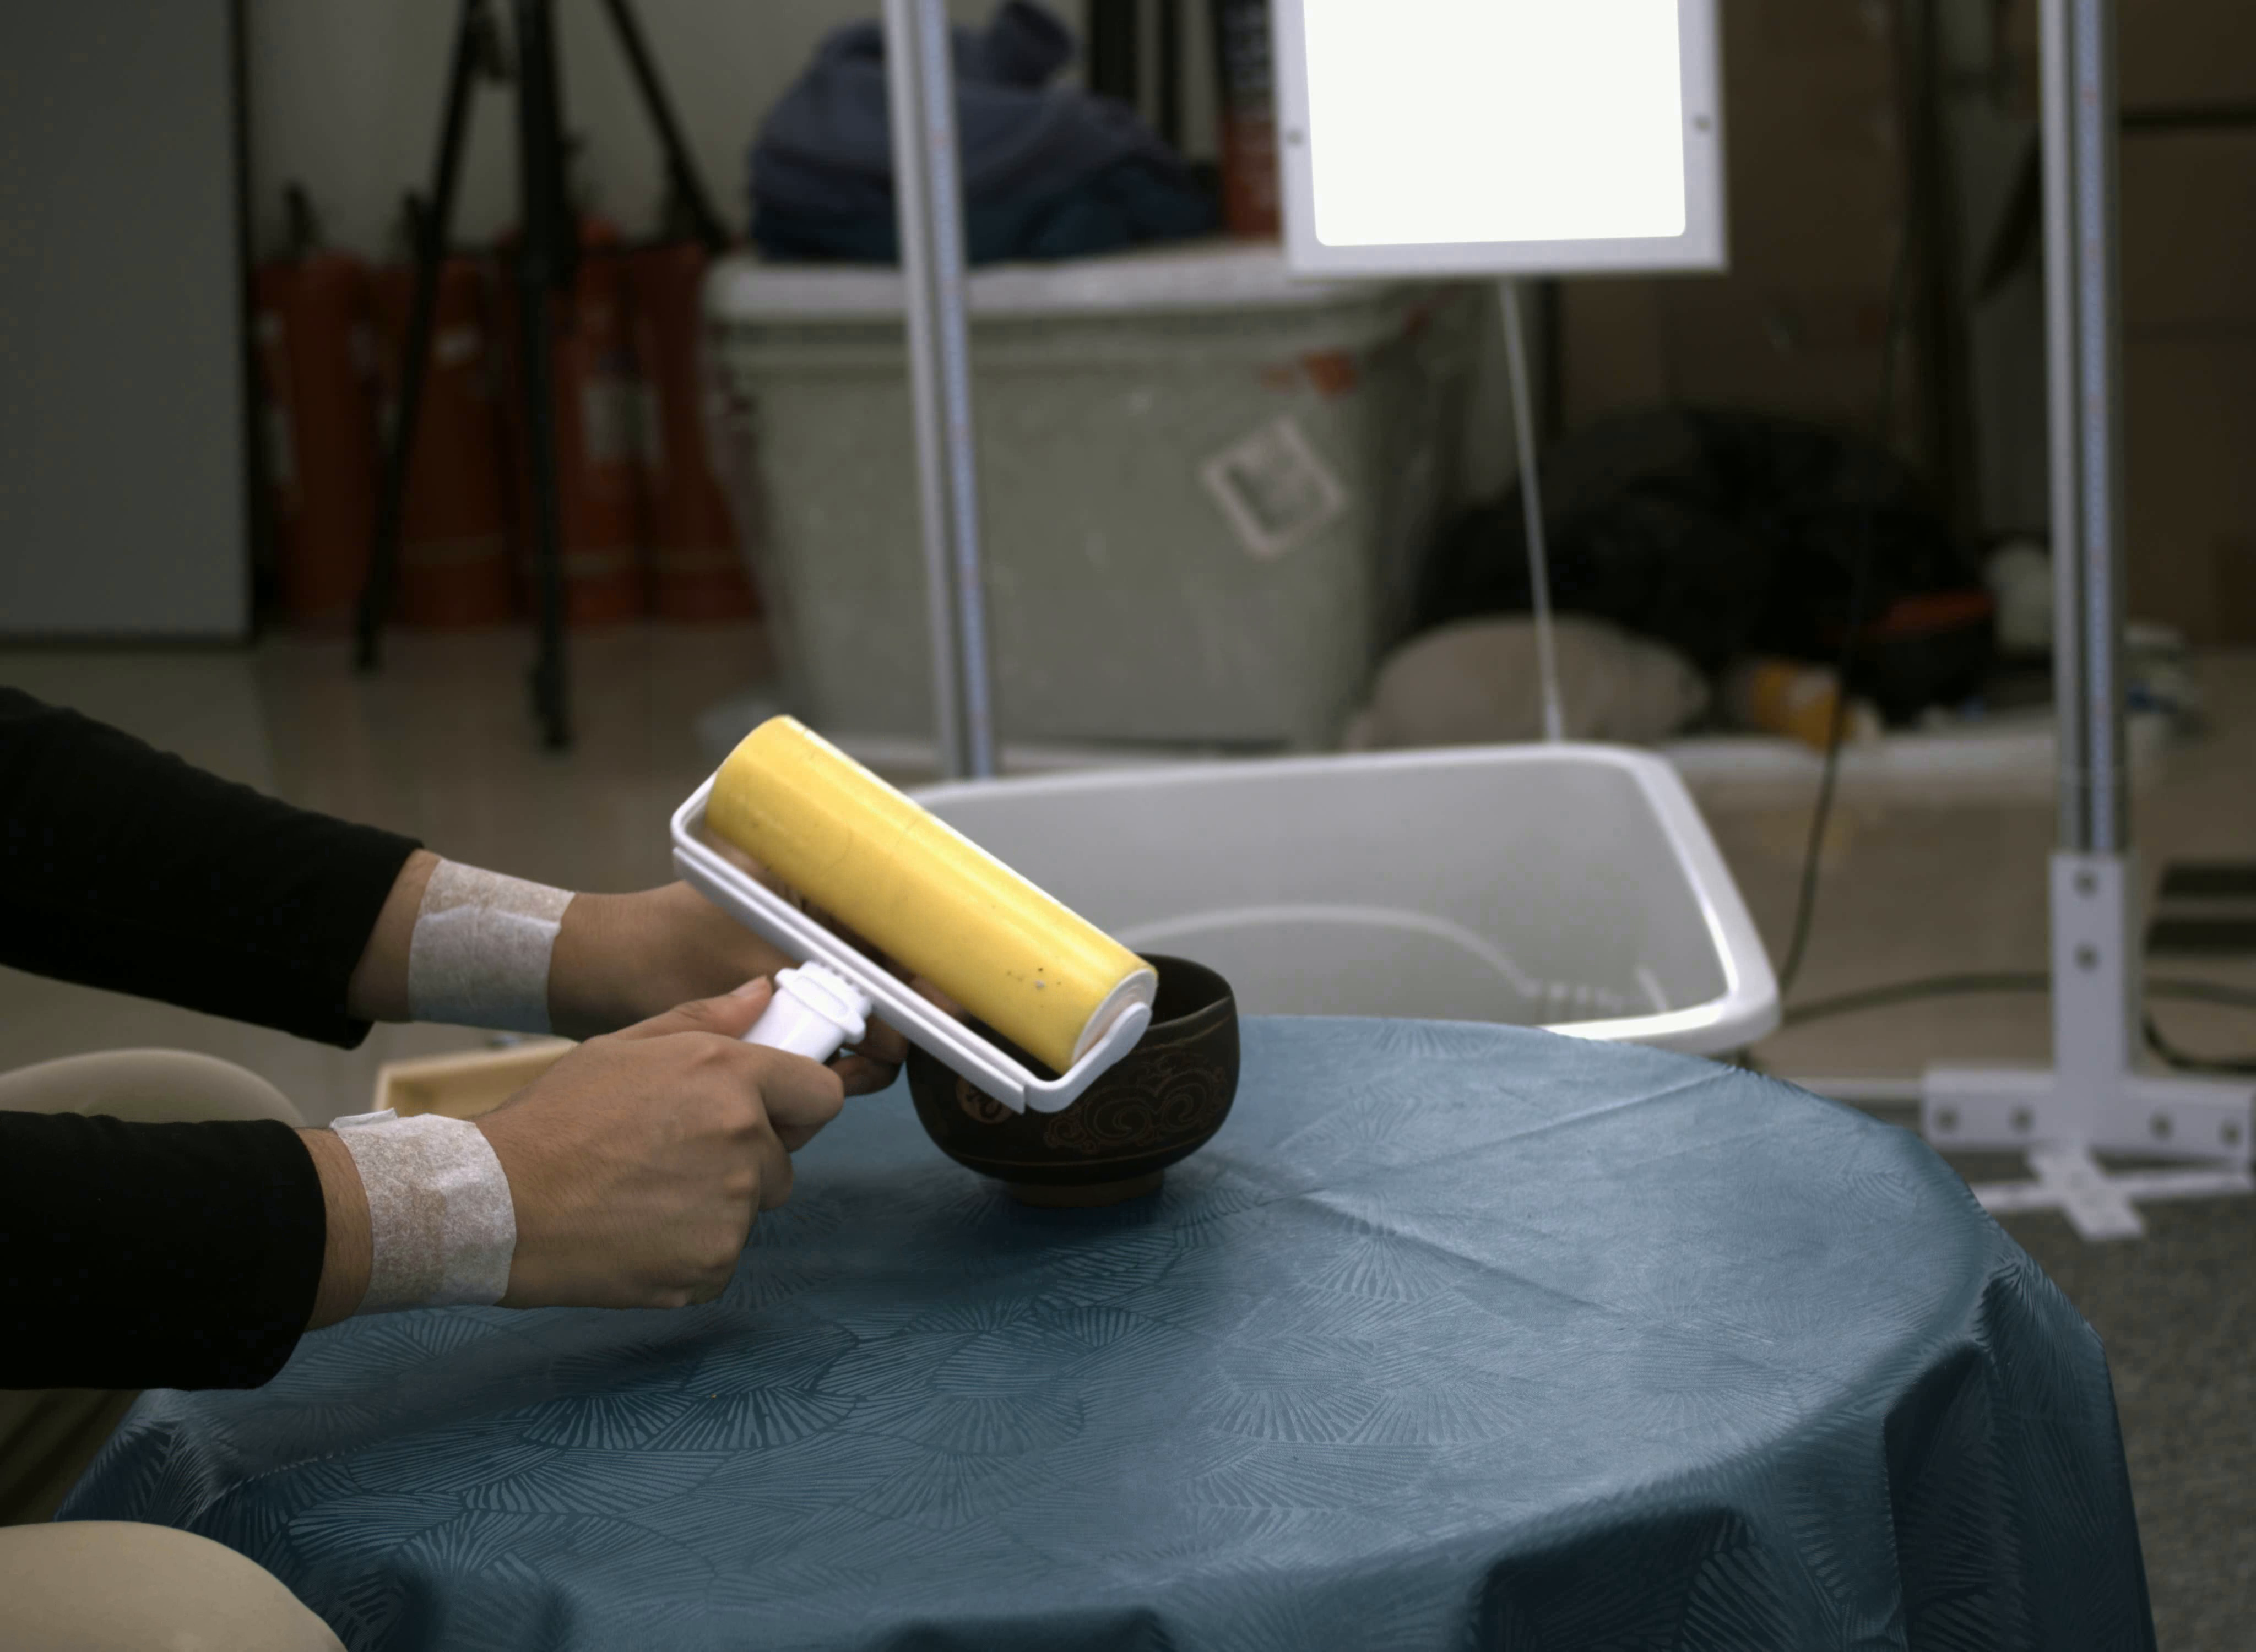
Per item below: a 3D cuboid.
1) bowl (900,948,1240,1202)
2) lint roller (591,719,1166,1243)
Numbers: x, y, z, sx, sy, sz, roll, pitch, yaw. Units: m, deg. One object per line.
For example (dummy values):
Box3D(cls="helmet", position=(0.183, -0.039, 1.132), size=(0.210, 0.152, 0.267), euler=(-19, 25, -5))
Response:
Box3D(cls="bowl", position=(-0.019, 0.089, 1.901), size=(0.118, 0.070, 0.118), euler=(-4, 13, 0))
Box3D(cls="lint roller", position=(-0.107, 0.064, 1.803), size=(0.176, 0.052, 0.188), euler=(33, 51, 21))
